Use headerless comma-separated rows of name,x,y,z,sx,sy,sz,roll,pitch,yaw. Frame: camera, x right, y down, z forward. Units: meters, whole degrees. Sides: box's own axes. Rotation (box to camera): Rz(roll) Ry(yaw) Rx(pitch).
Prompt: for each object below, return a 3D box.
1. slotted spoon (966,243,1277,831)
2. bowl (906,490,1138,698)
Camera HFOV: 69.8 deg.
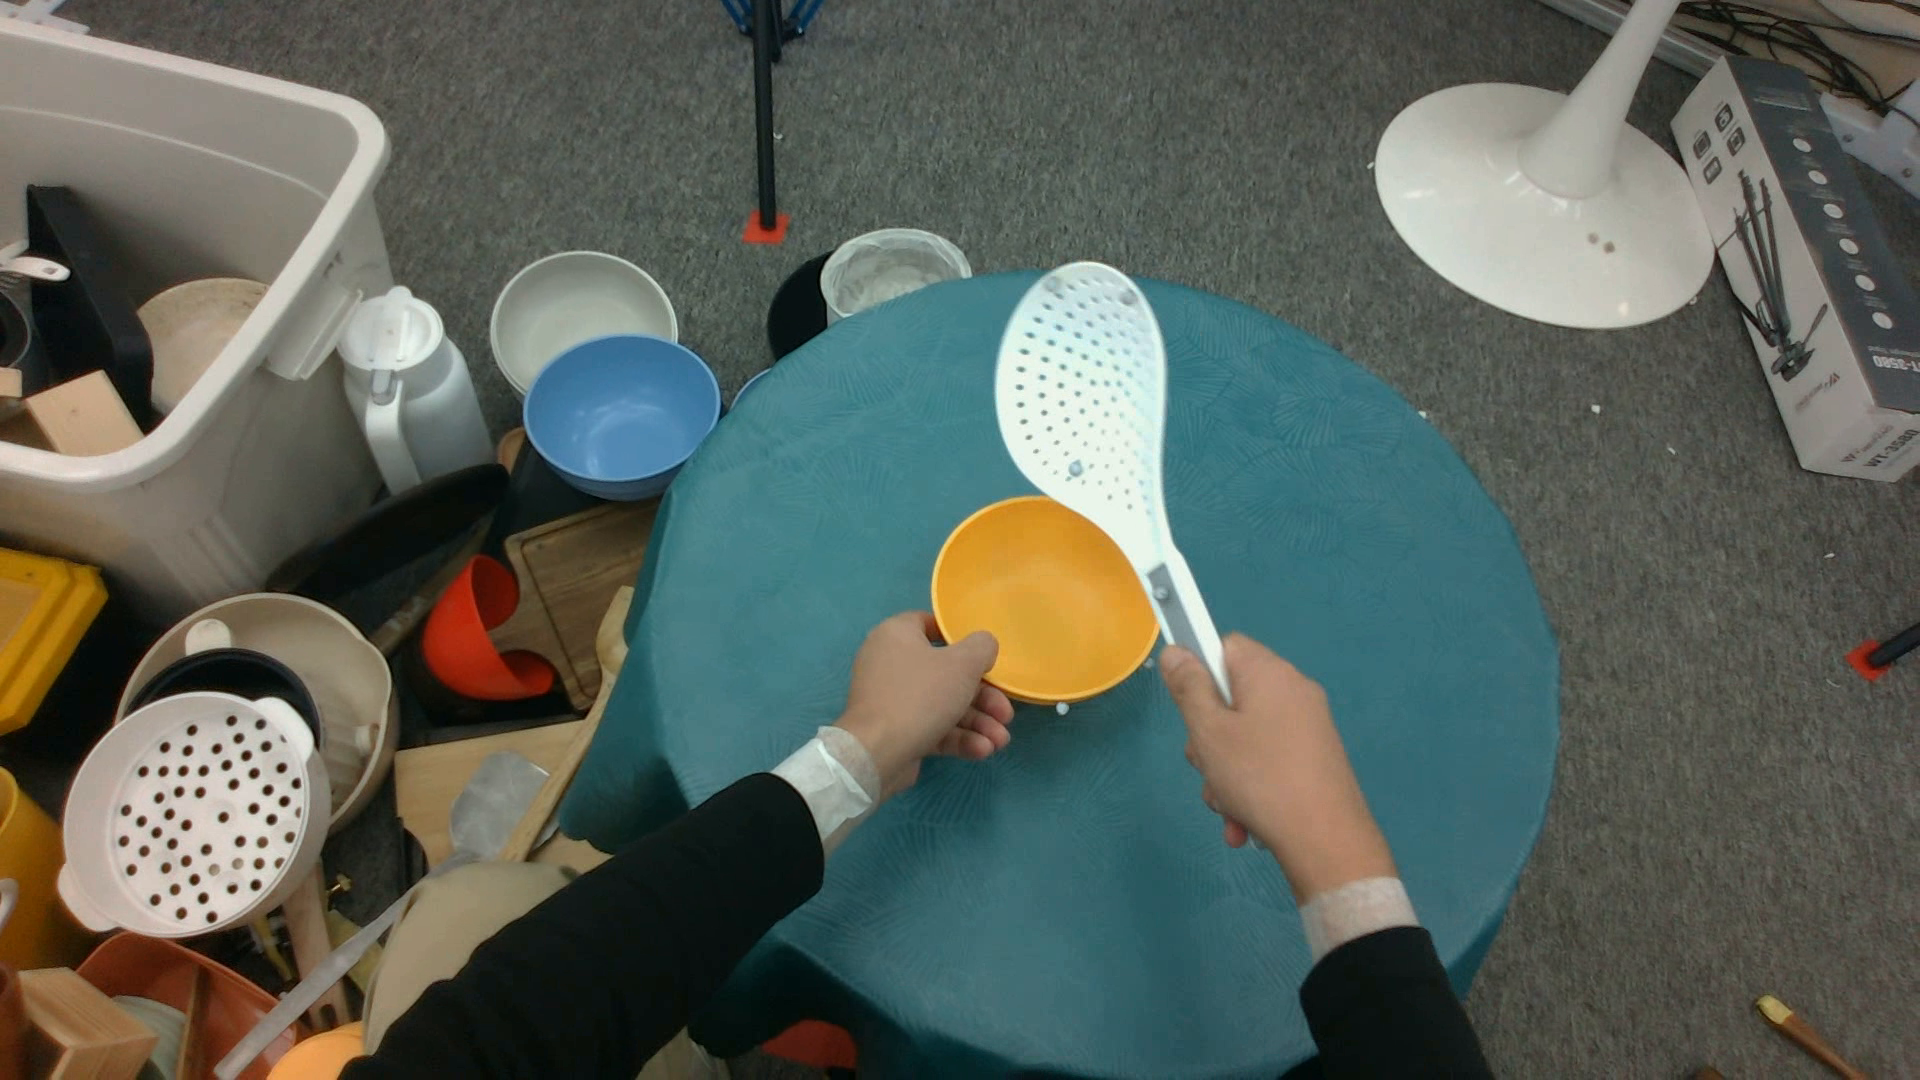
slotted spoon,0.089,-0.008,0.757,0.046,0.135,0.350,0,61,-35
bowl,0.037,0.043,0.869,0.145,0.060,0.146,2,57,-3
